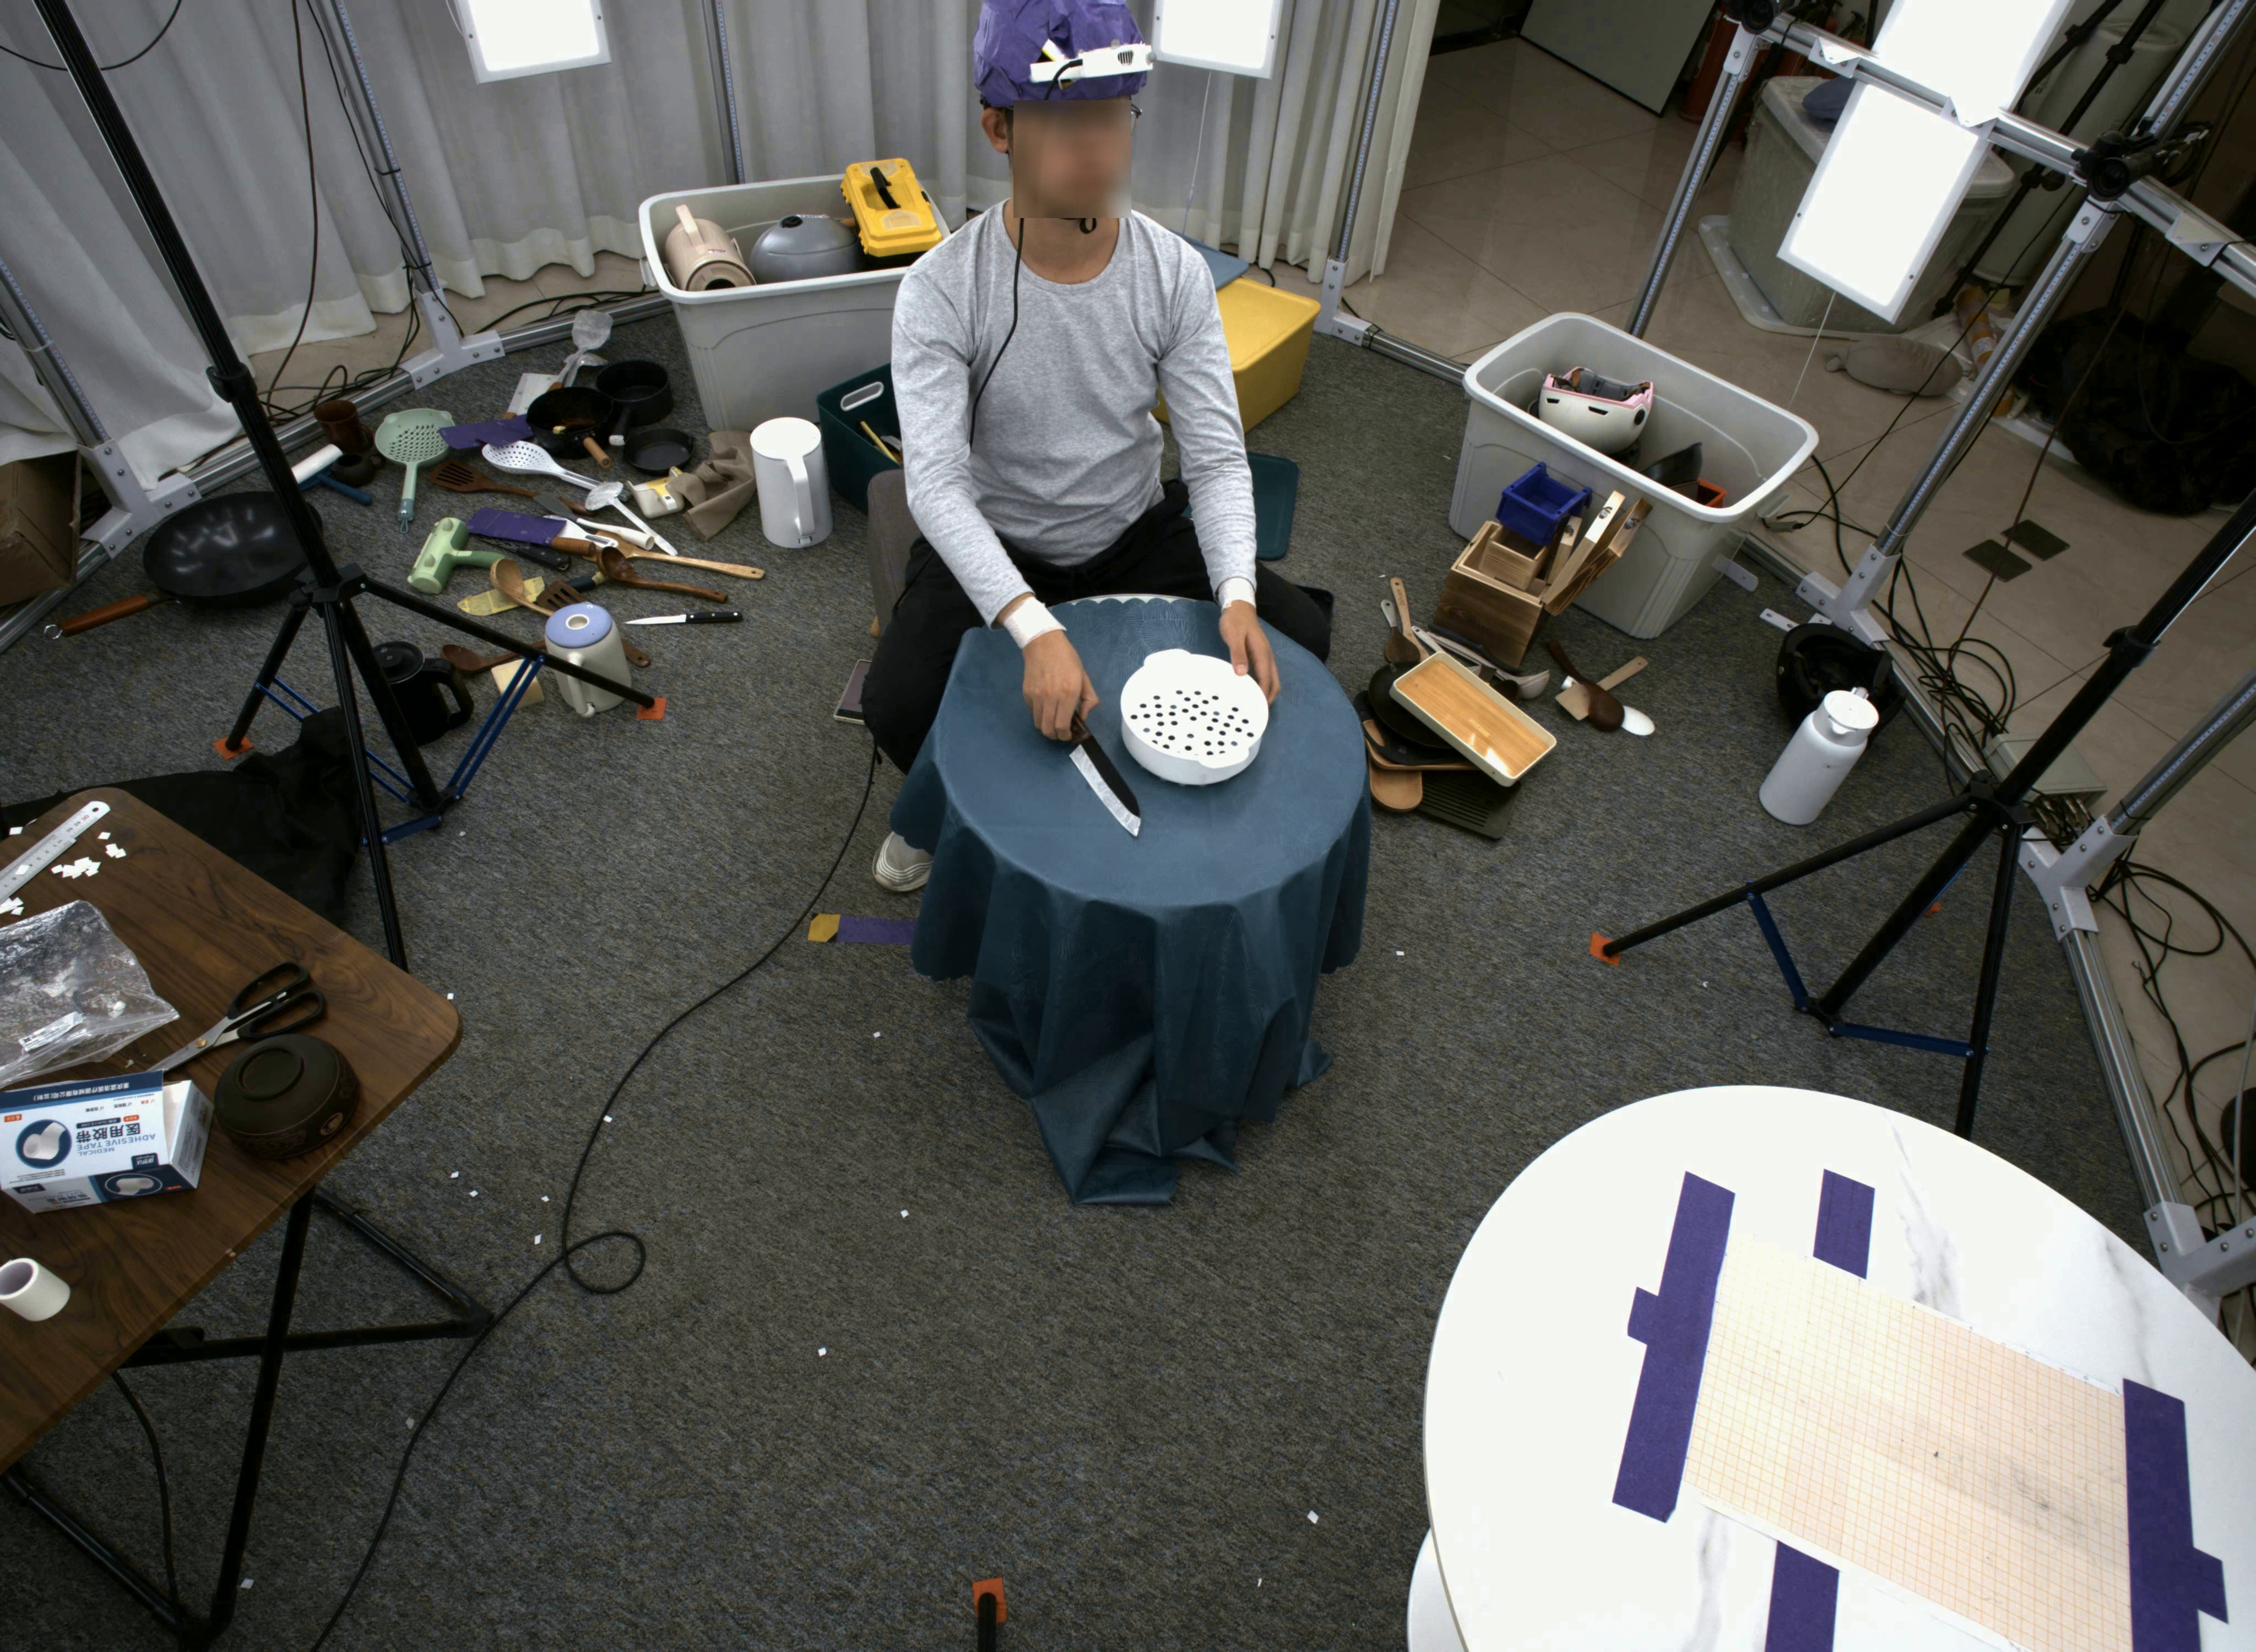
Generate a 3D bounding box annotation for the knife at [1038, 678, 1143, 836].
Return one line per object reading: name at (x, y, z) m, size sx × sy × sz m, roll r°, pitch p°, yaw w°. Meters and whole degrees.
knife at (-0.051, -0.096, 1.724) m, size 0.050 × 0.020 × 0.295 m, roll -43°, pitch 57°, yaw 18°

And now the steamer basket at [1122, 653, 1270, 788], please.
steamer basket at (0.090, -0.140, 1.752) m, size 0.202 × 0.067 × 0.236 m, roll -14°, pitch 51°, yaw -16°
